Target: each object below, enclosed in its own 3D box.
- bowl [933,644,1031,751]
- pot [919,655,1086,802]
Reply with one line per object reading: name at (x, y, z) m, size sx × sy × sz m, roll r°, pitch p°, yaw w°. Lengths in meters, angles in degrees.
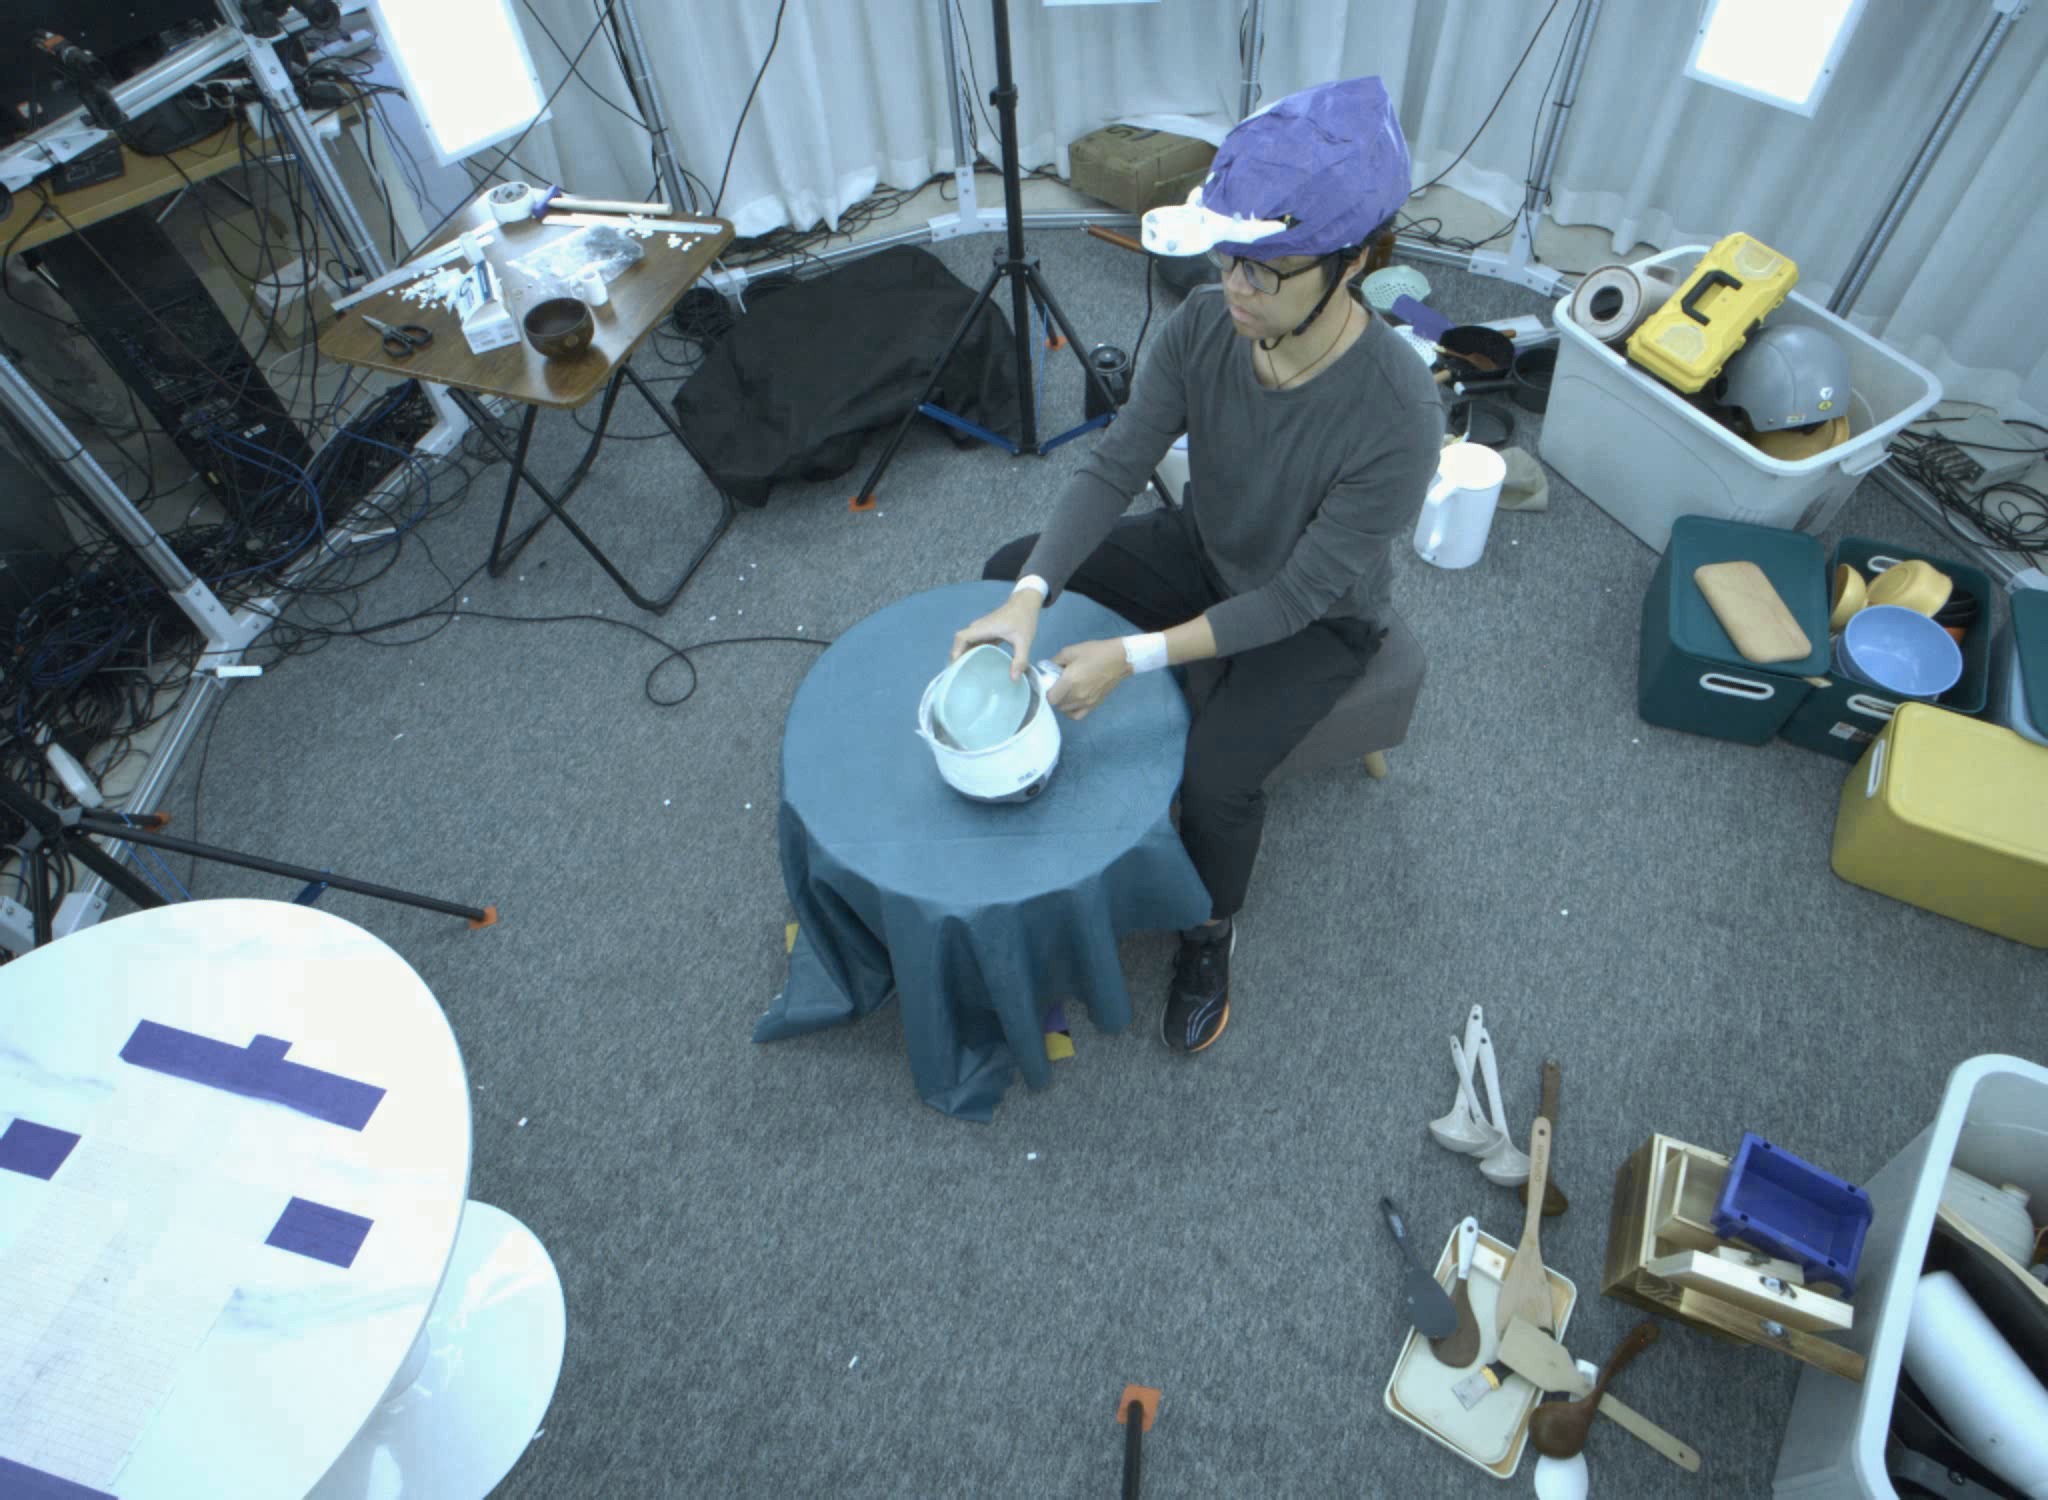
bowl at (-0.067, -0.071, 1.655) m, size 0.152 × 0.154 × 0.057 m, roll -44°, pitch 36°, yaw -24°
pot at (-0.021, -0.042, 1.724) m, size 0.235 × 0.139 × 0.175 m, roll -33°, pitch 53°, yaw -13°
